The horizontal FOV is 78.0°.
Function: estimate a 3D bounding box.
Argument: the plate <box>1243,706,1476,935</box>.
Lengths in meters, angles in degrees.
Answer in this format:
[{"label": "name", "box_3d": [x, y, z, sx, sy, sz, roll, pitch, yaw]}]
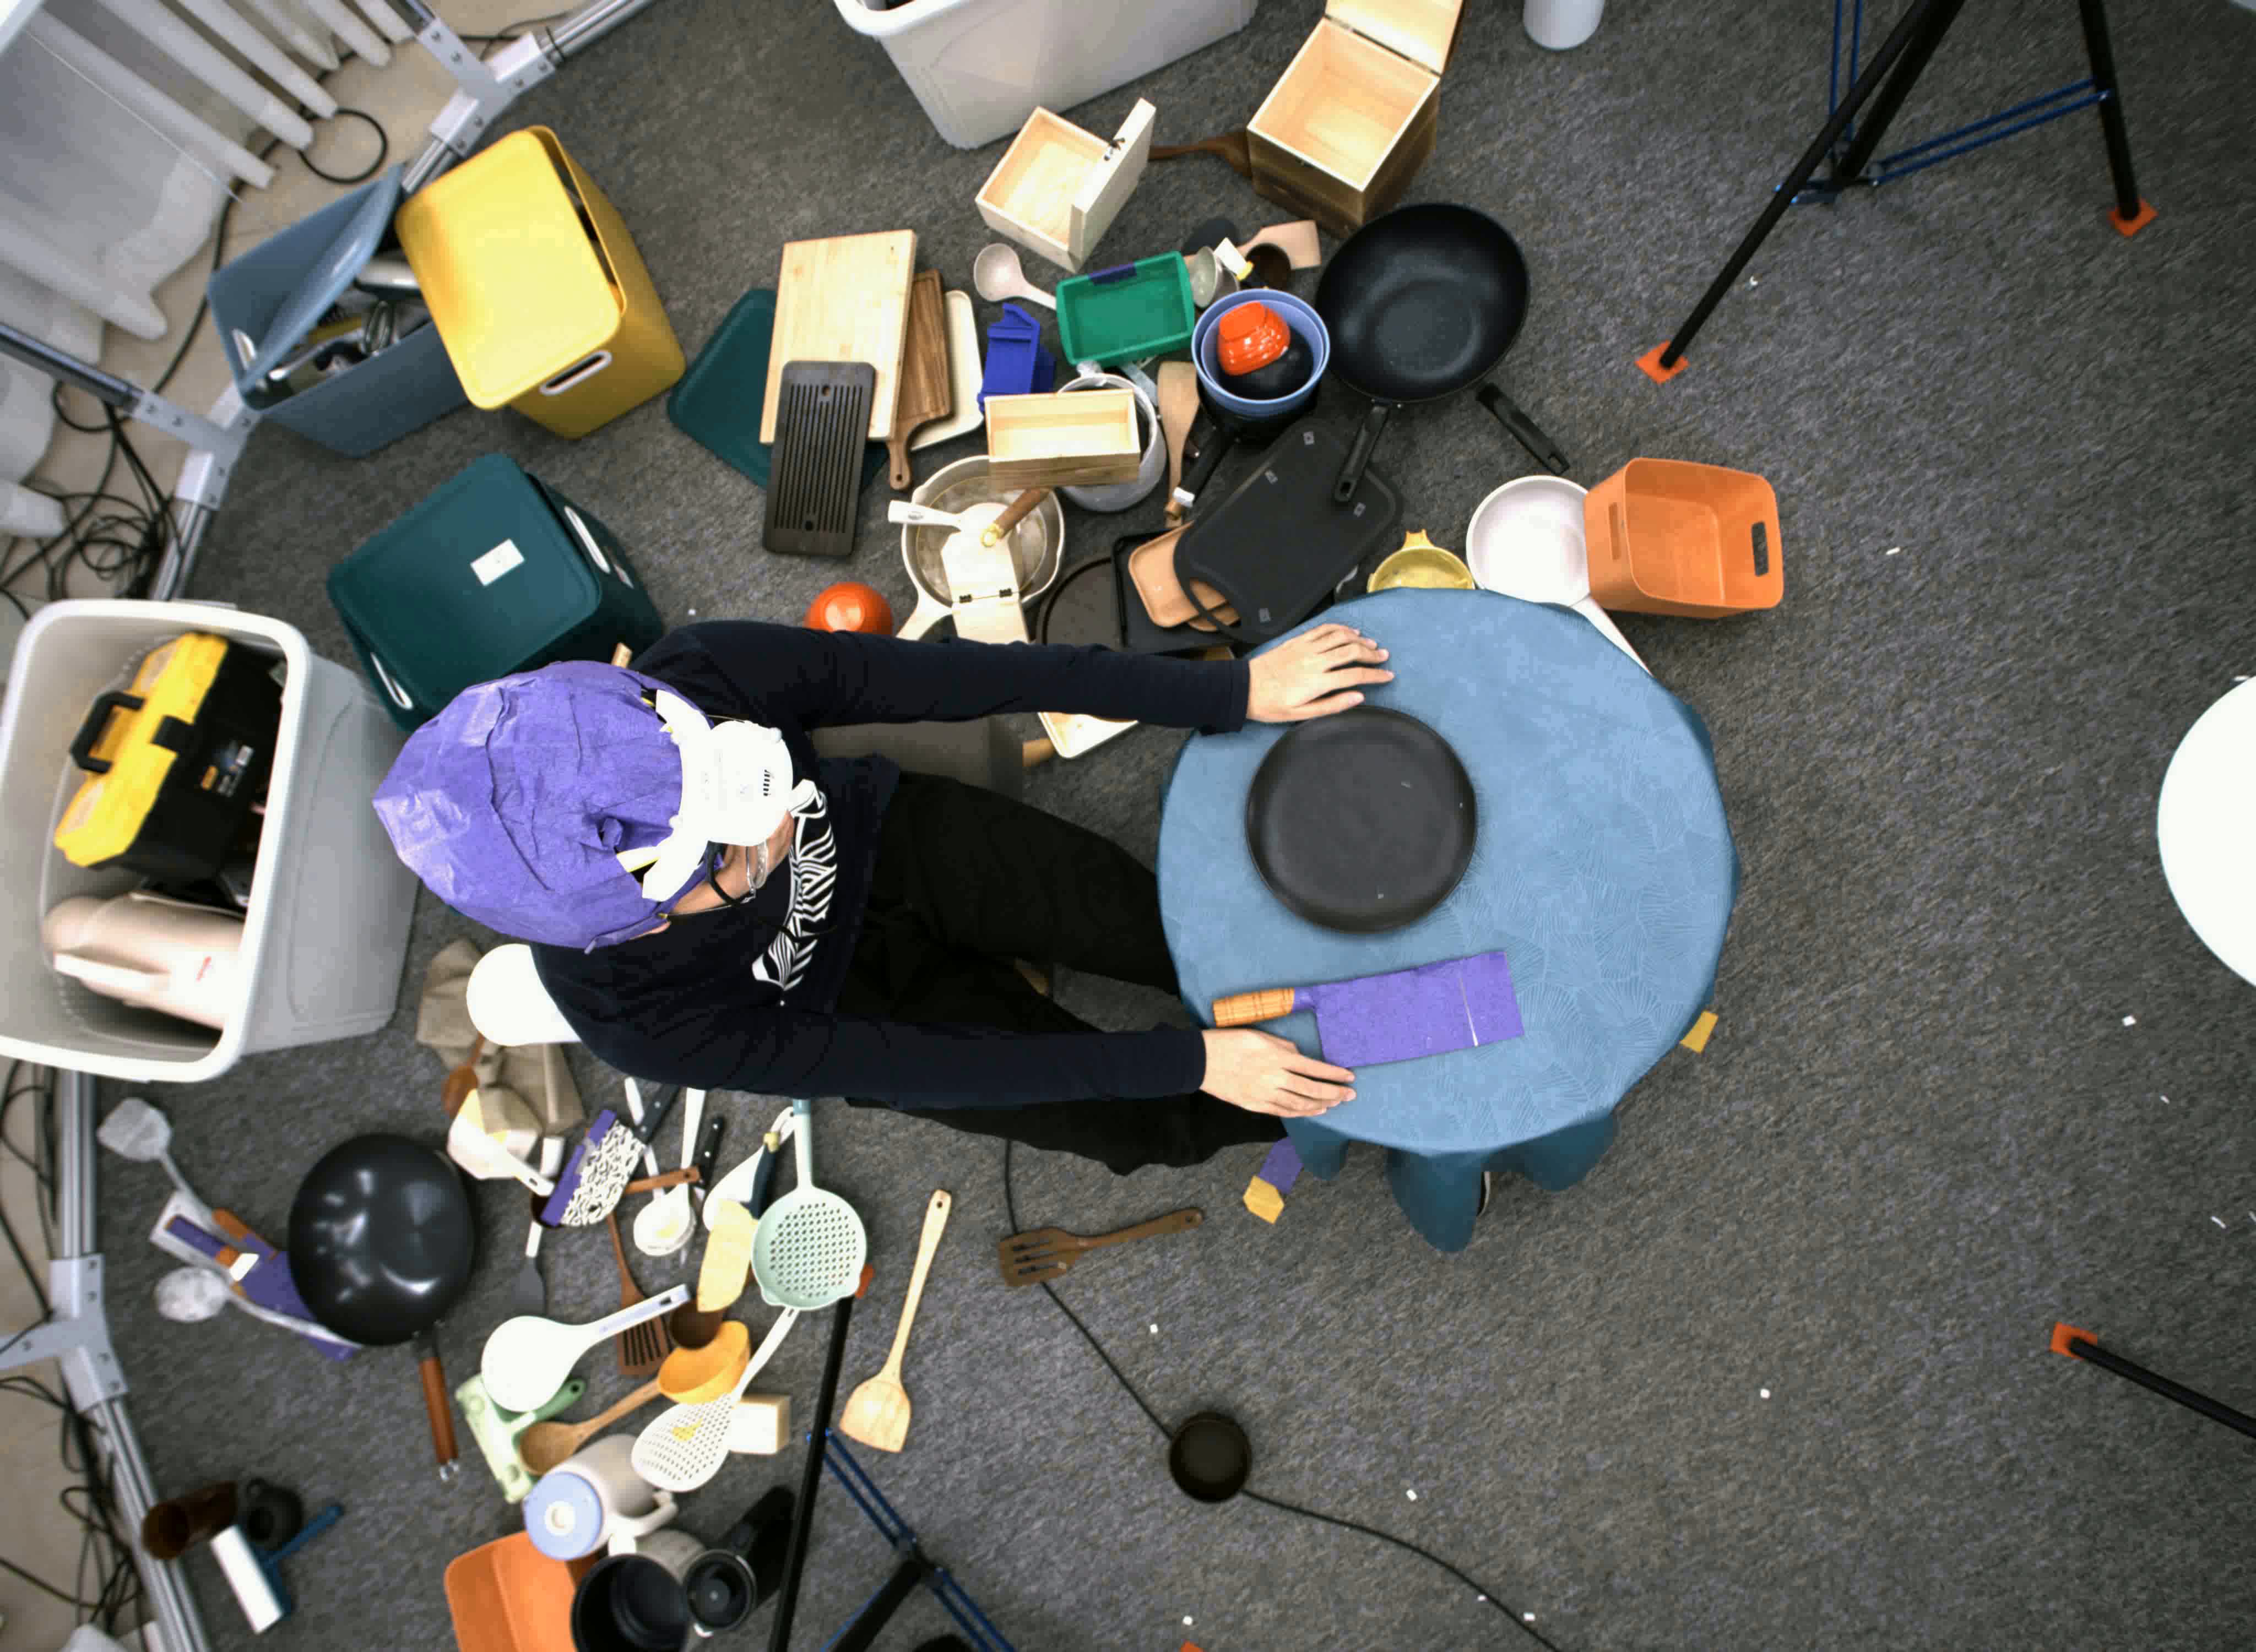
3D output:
[{"label": "plate", "box_3d": [0.243, -0.007, 1.458, 0.245, 0.023, 0.243, -1, 86, 11]}]

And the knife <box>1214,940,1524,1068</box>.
[{"label": "knife", "box_3d": [0.250, 0.199, 1.443, 0.317, 0.032, 0.103, -13, 84, 9]}]
